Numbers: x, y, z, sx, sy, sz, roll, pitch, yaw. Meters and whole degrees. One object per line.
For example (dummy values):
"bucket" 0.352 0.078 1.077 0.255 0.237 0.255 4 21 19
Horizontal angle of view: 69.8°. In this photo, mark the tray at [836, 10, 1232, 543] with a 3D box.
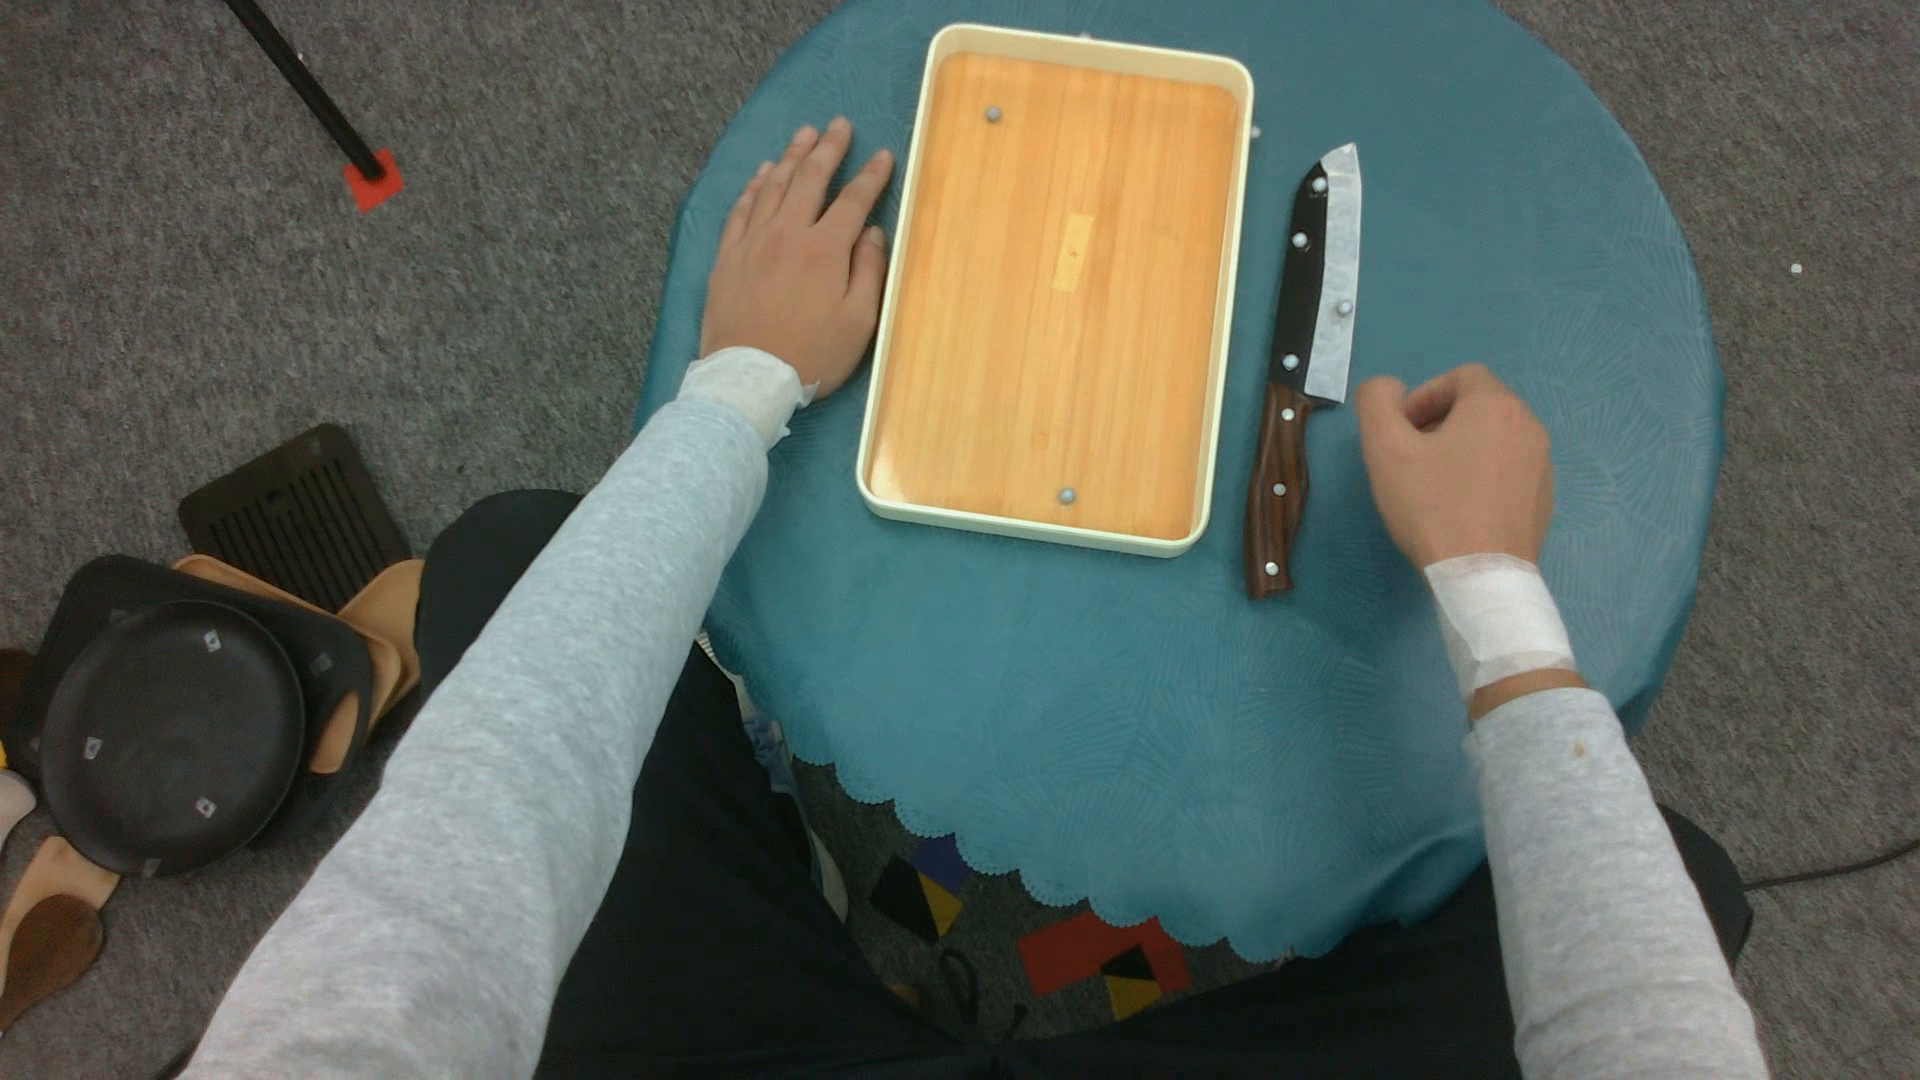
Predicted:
"tray" 0.046 -0.154 0.774 0.191 0.027 0.301 8 74 1

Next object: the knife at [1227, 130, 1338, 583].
"knife" 0.183 -0.110 0.771 0.050 0.020 0.290 14 72 -2
